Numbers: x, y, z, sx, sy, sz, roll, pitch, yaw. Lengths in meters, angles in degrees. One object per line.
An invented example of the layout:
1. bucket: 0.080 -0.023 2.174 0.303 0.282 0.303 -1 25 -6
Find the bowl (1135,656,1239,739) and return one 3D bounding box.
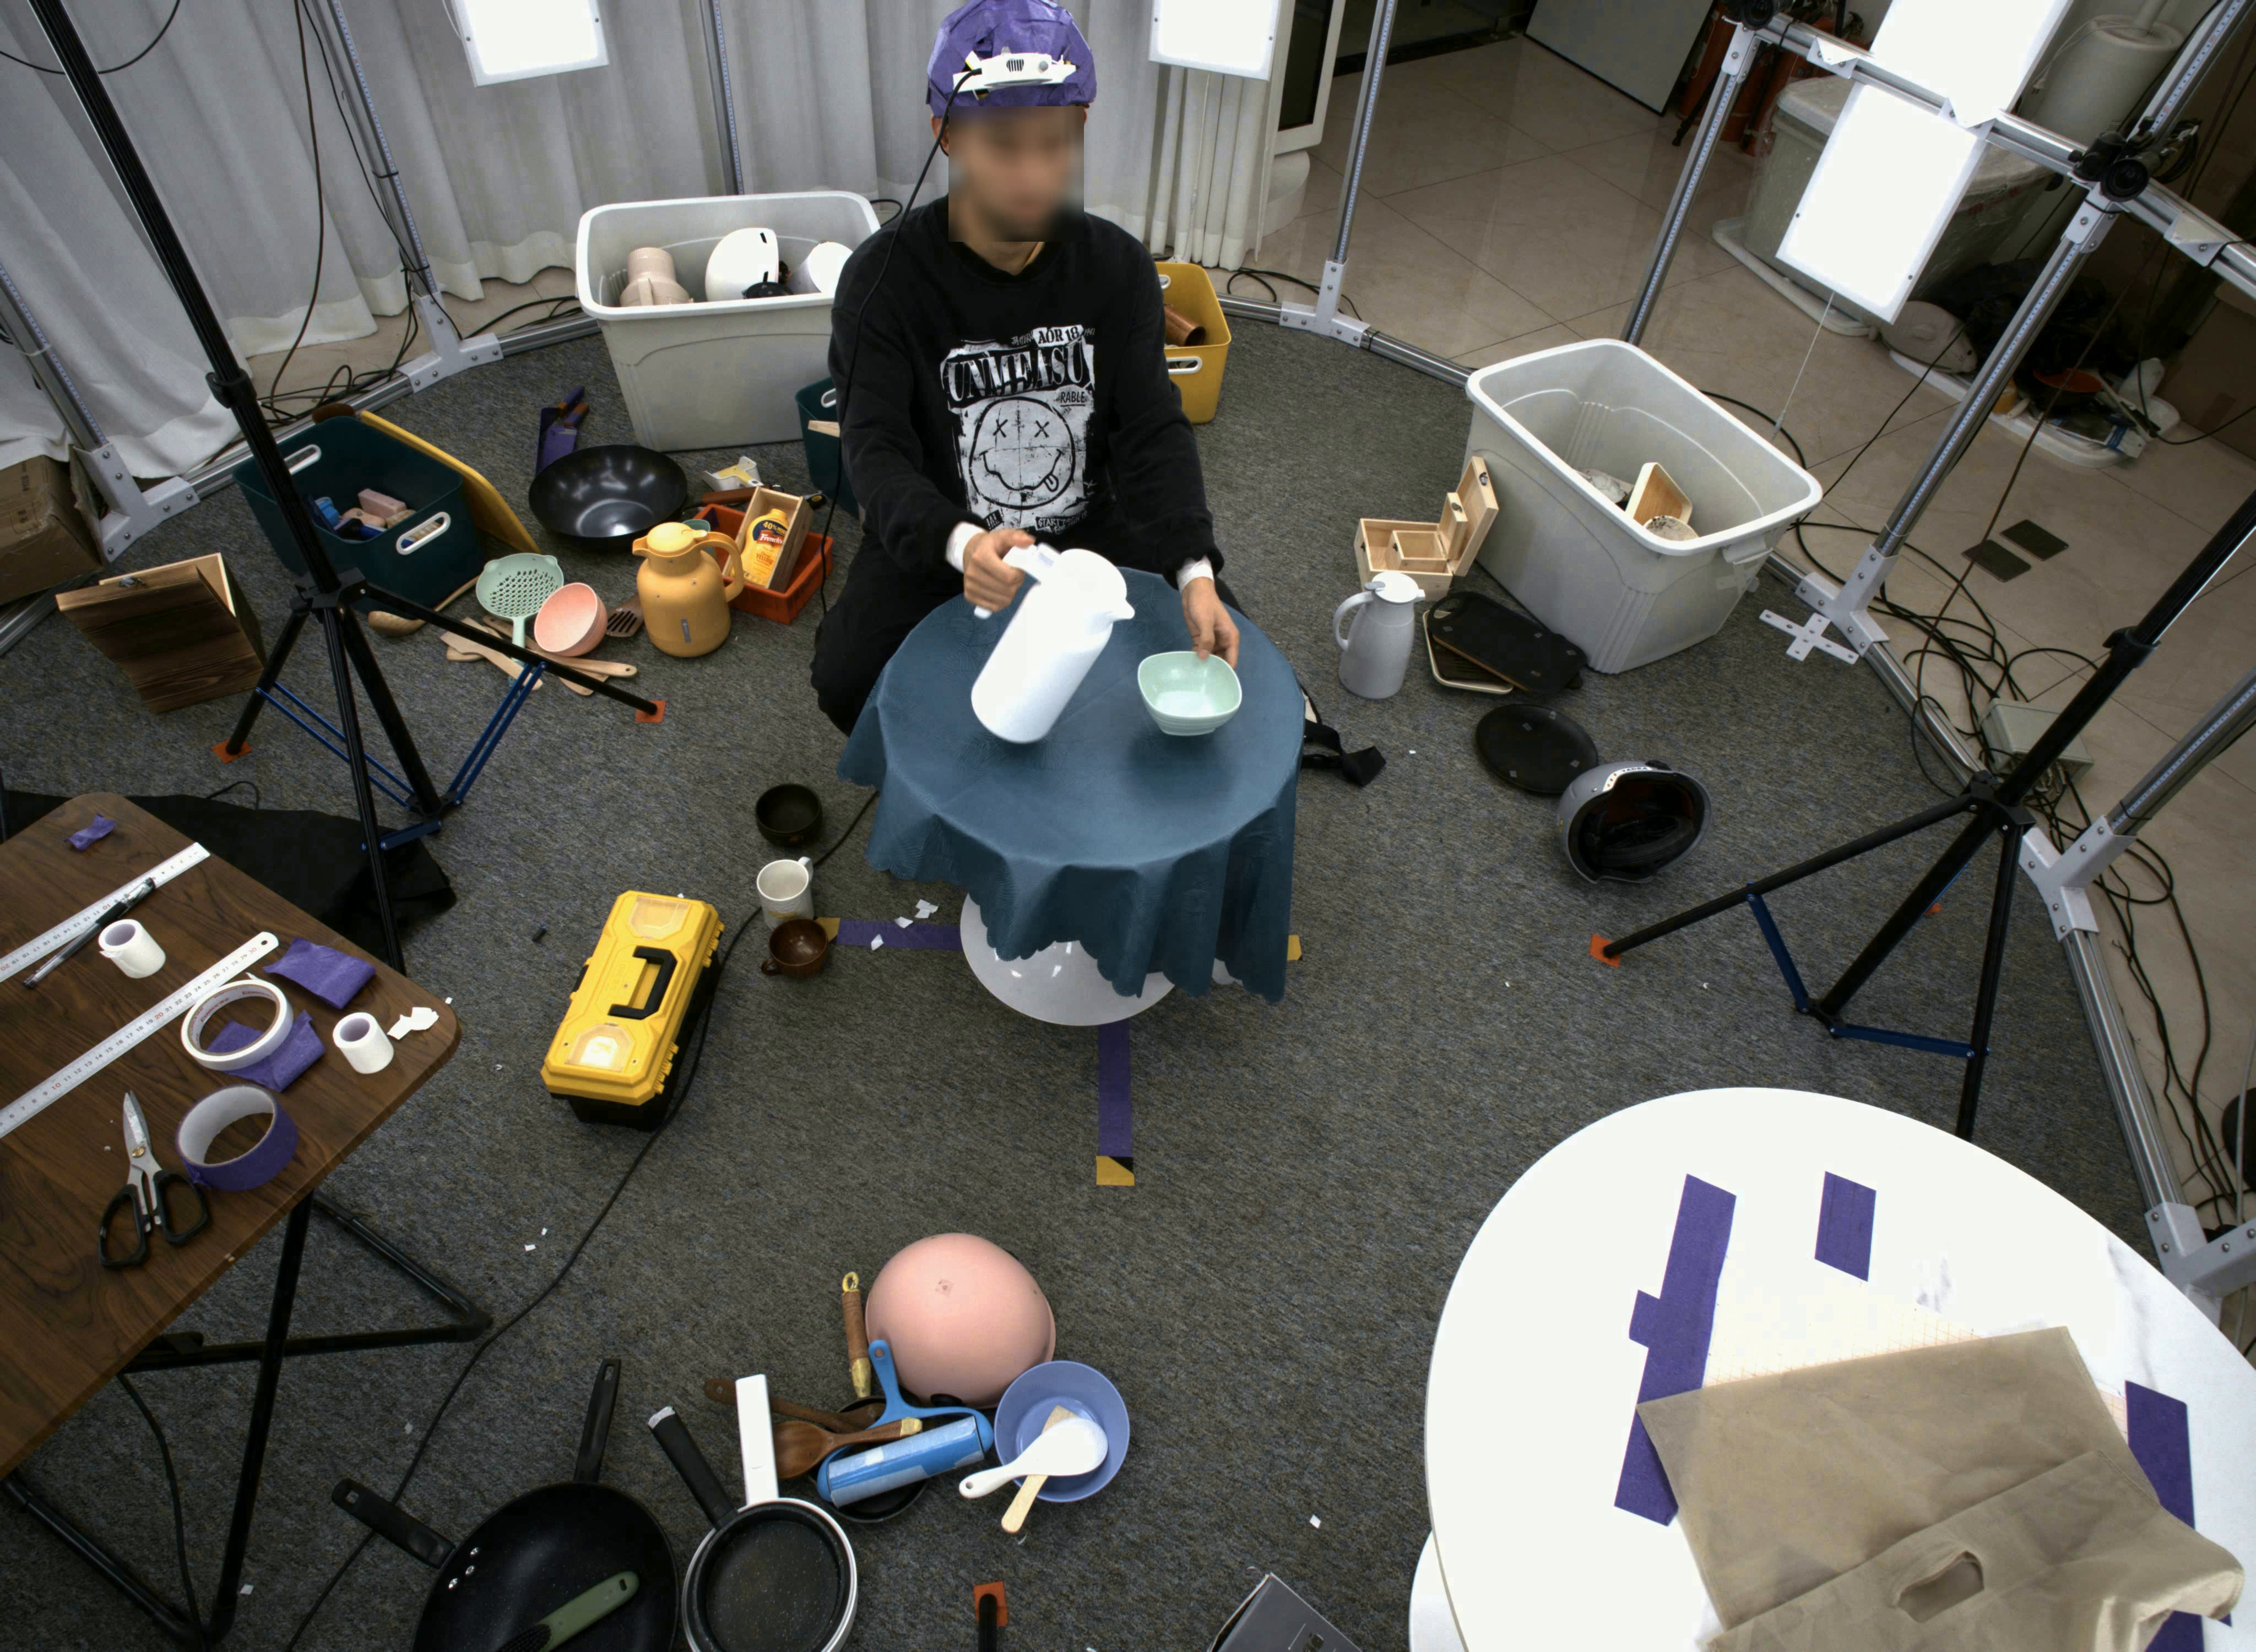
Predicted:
1. bowl: 0.078 -0.168 1.741 0.151 0.057 0.155 3 43 -3

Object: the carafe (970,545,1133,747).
1. carafe: -0.119 -0.230 1.631 0.172 0.264 0.126 32 49 -4
